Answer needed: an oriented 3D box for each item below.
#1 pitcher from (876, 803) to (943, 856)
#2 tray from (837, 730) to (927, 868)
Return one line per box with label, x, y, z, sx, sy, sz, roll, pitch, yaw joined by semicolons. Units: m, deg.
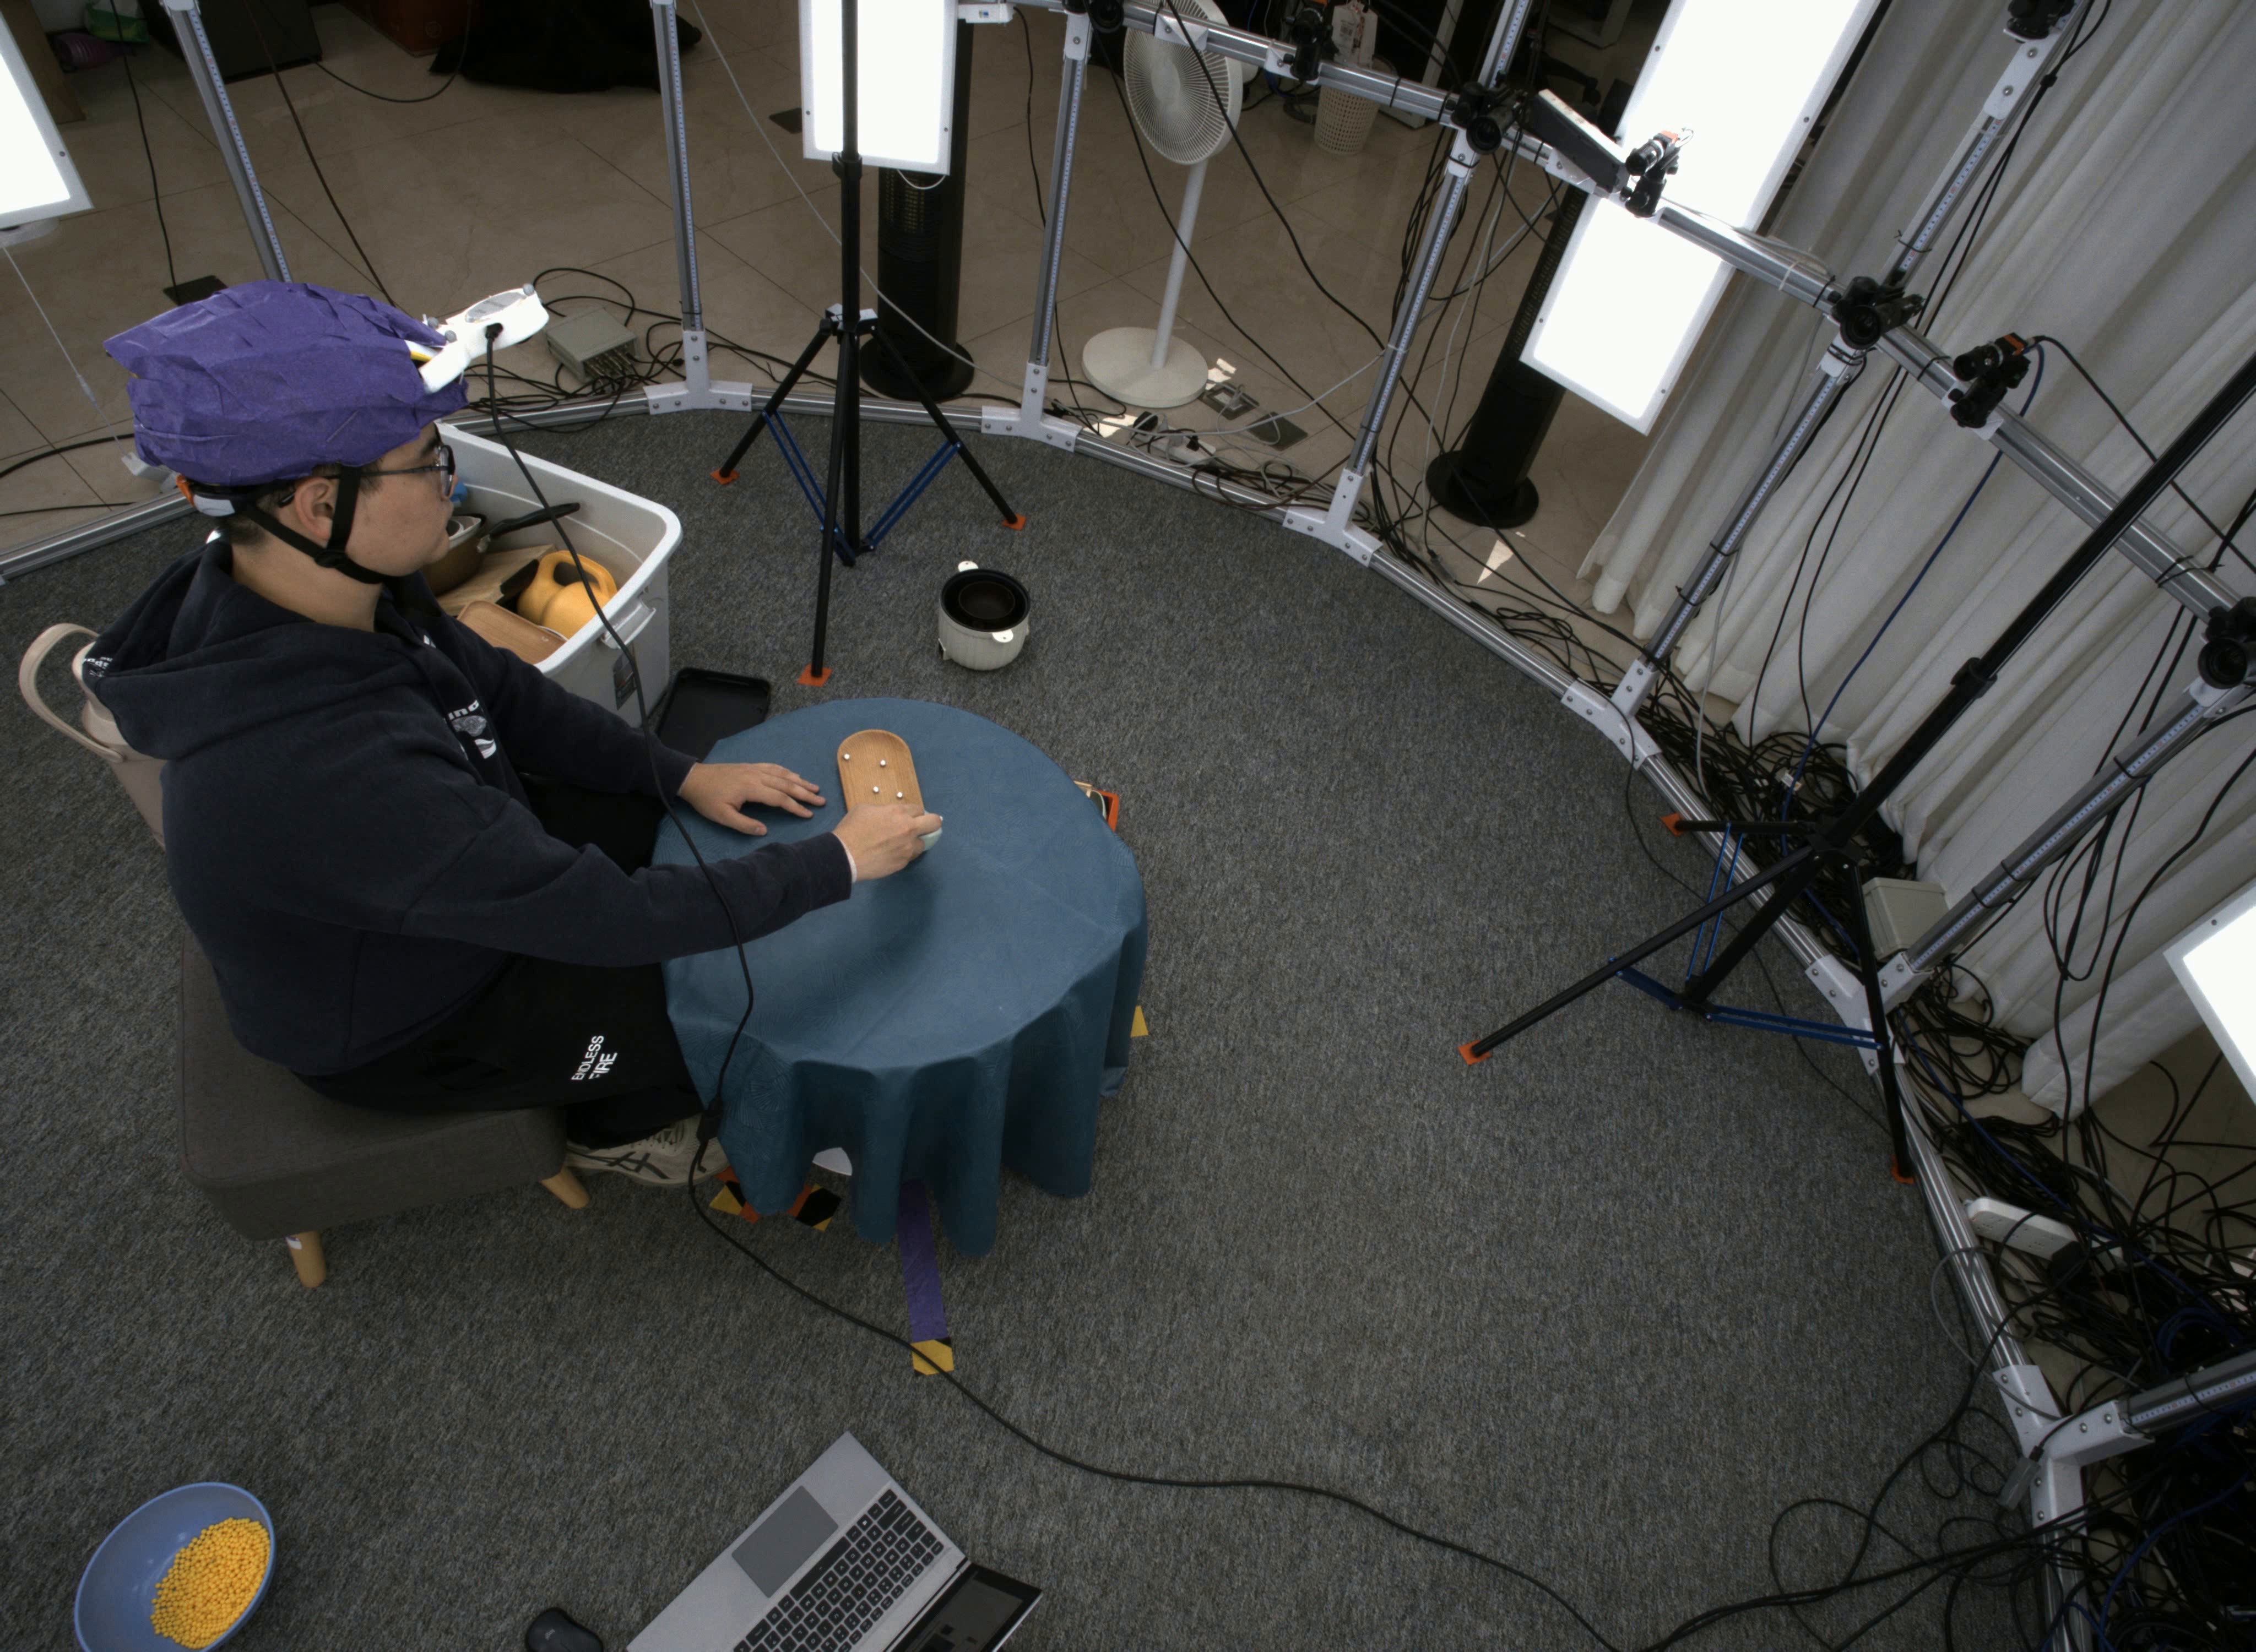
pitcher;-0.277;0.005;1.637;0.086;0.106;0.062;-12;100;-9
tray;-0.332;-0.039;1.763;0.102;0.021;0.226;-9;59;-18
